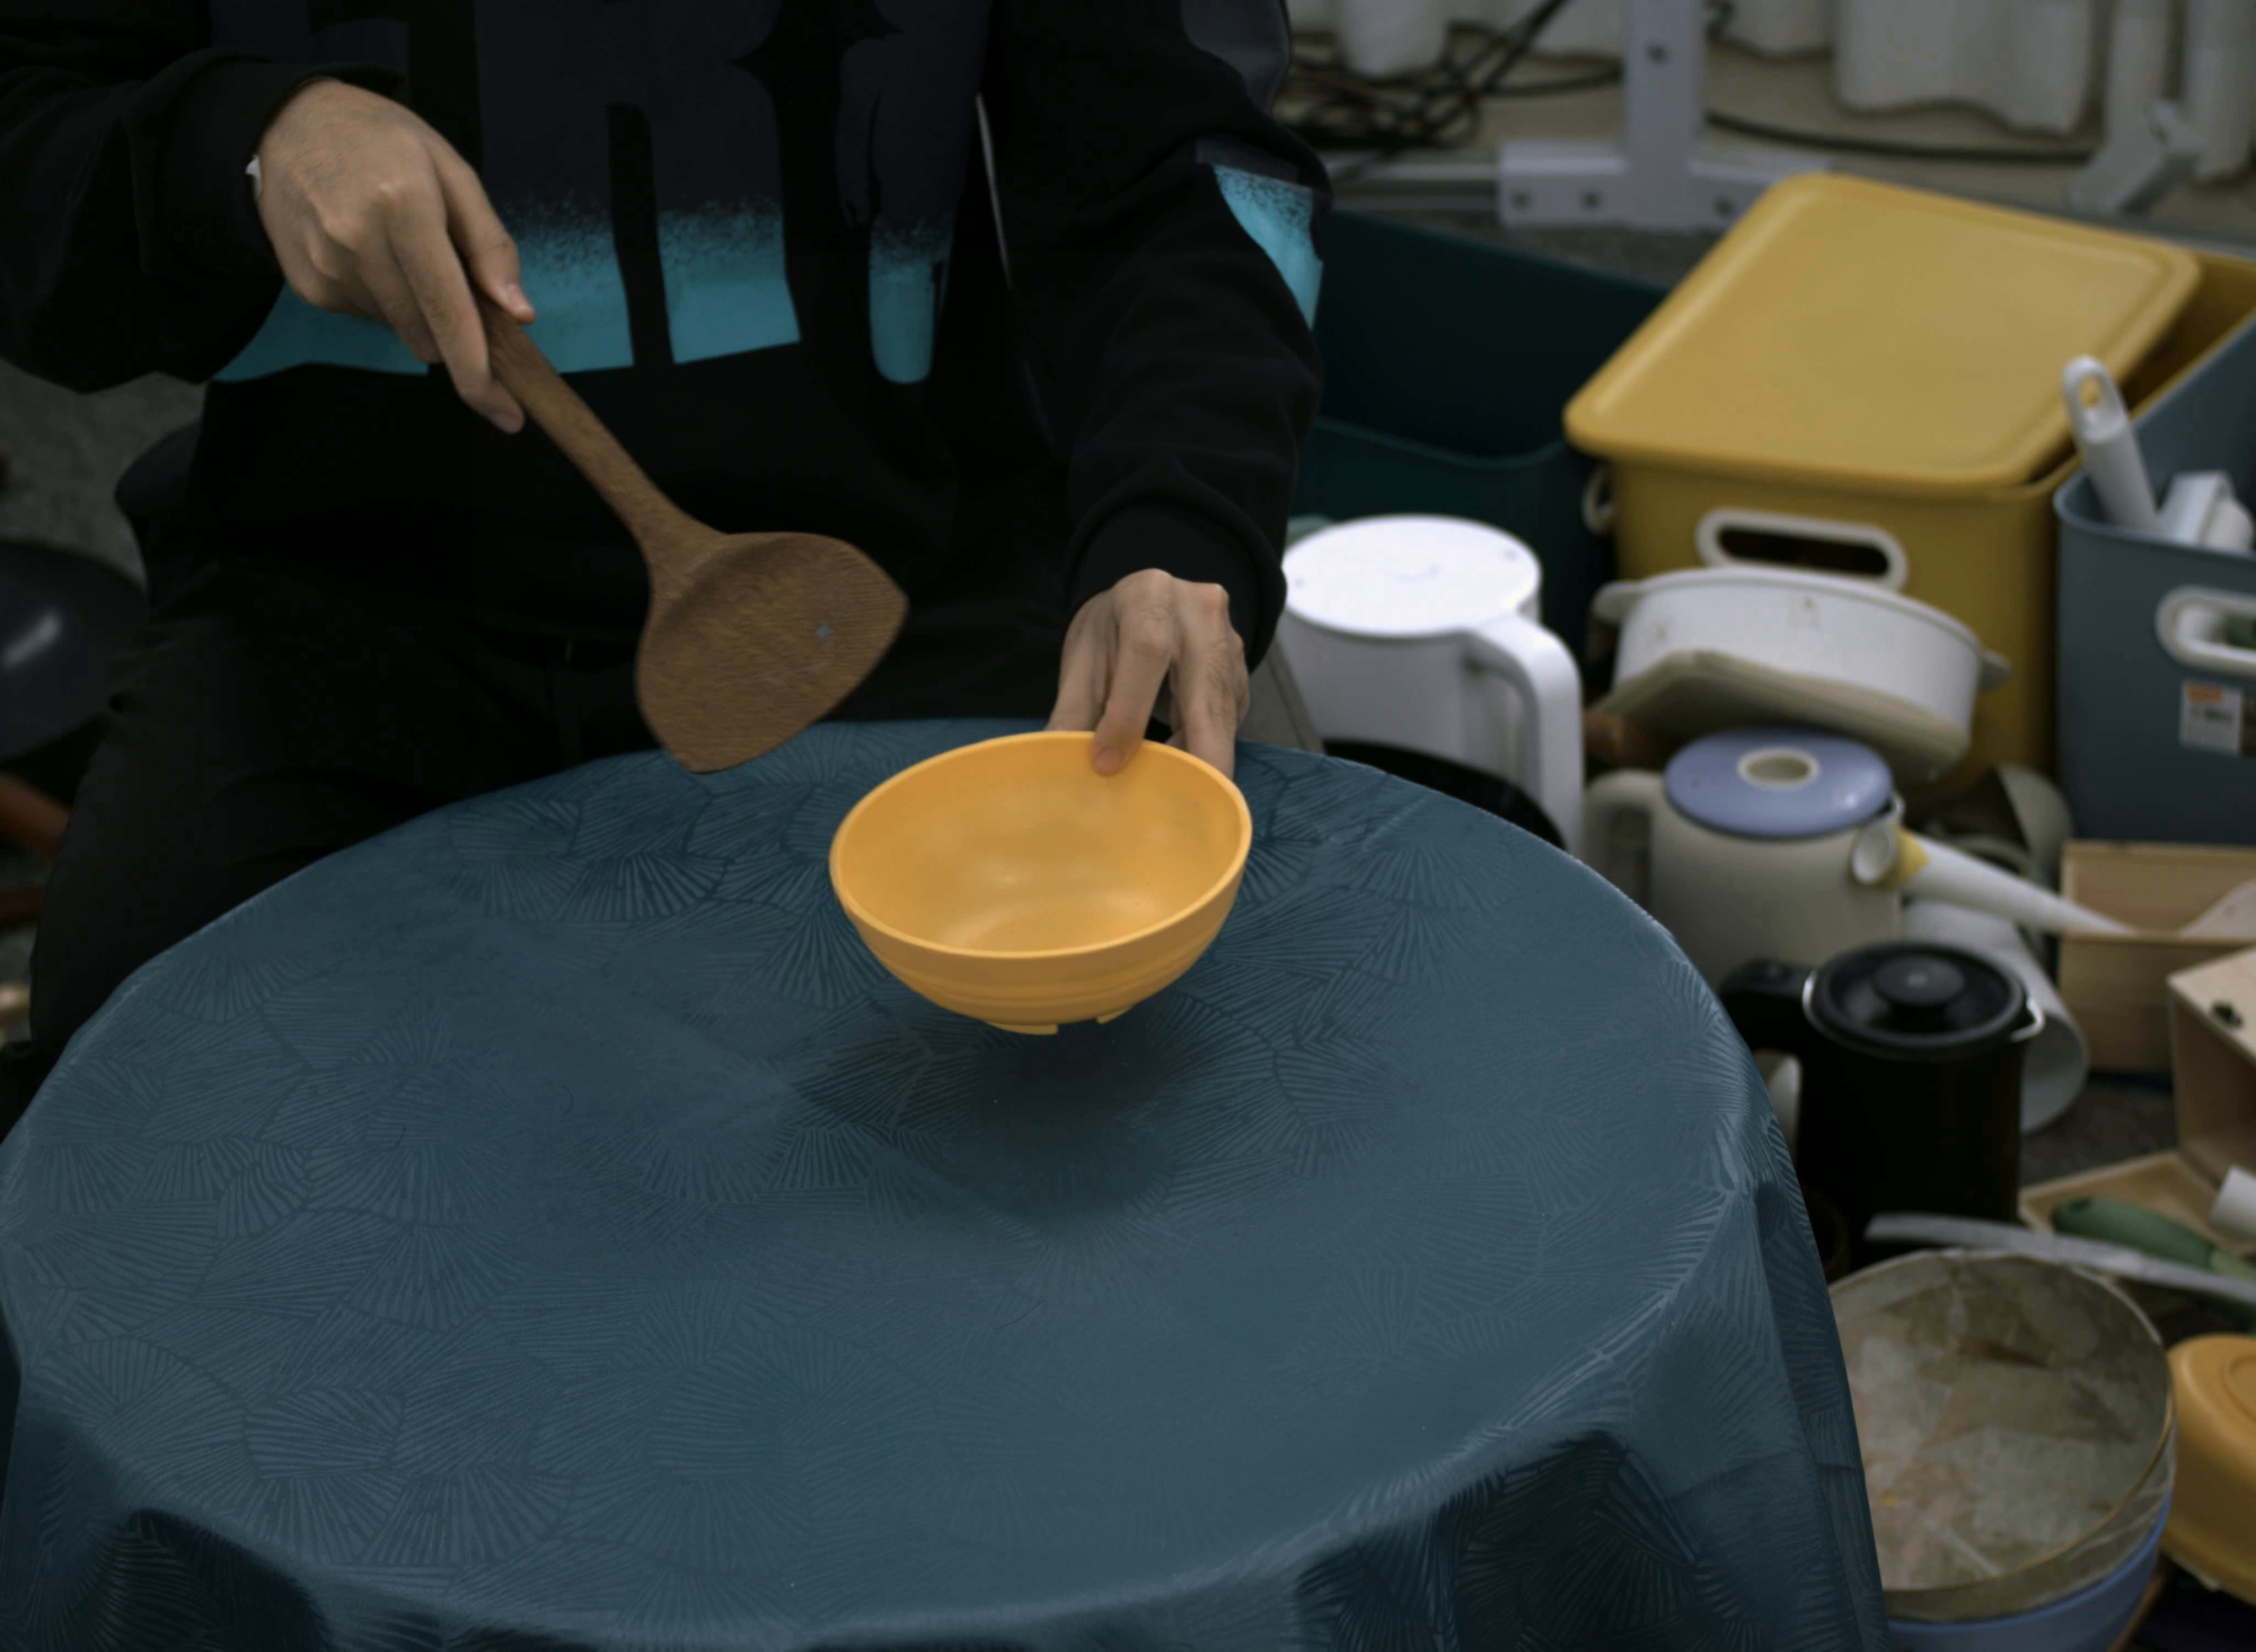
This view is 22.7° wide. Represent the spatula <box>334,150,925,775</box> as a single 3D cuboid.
[{"bbox_3d":[-0.192,-0.142,1.982,0.096,0.015,0.389,-39,49,-4],"label":"spatula"}]

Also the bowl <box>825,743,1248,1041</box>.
[{"bbox_3d":[-0.030,0.032,1.922,0.144,0.059,0.147,-2,29,1],"label":"bowl"}]
